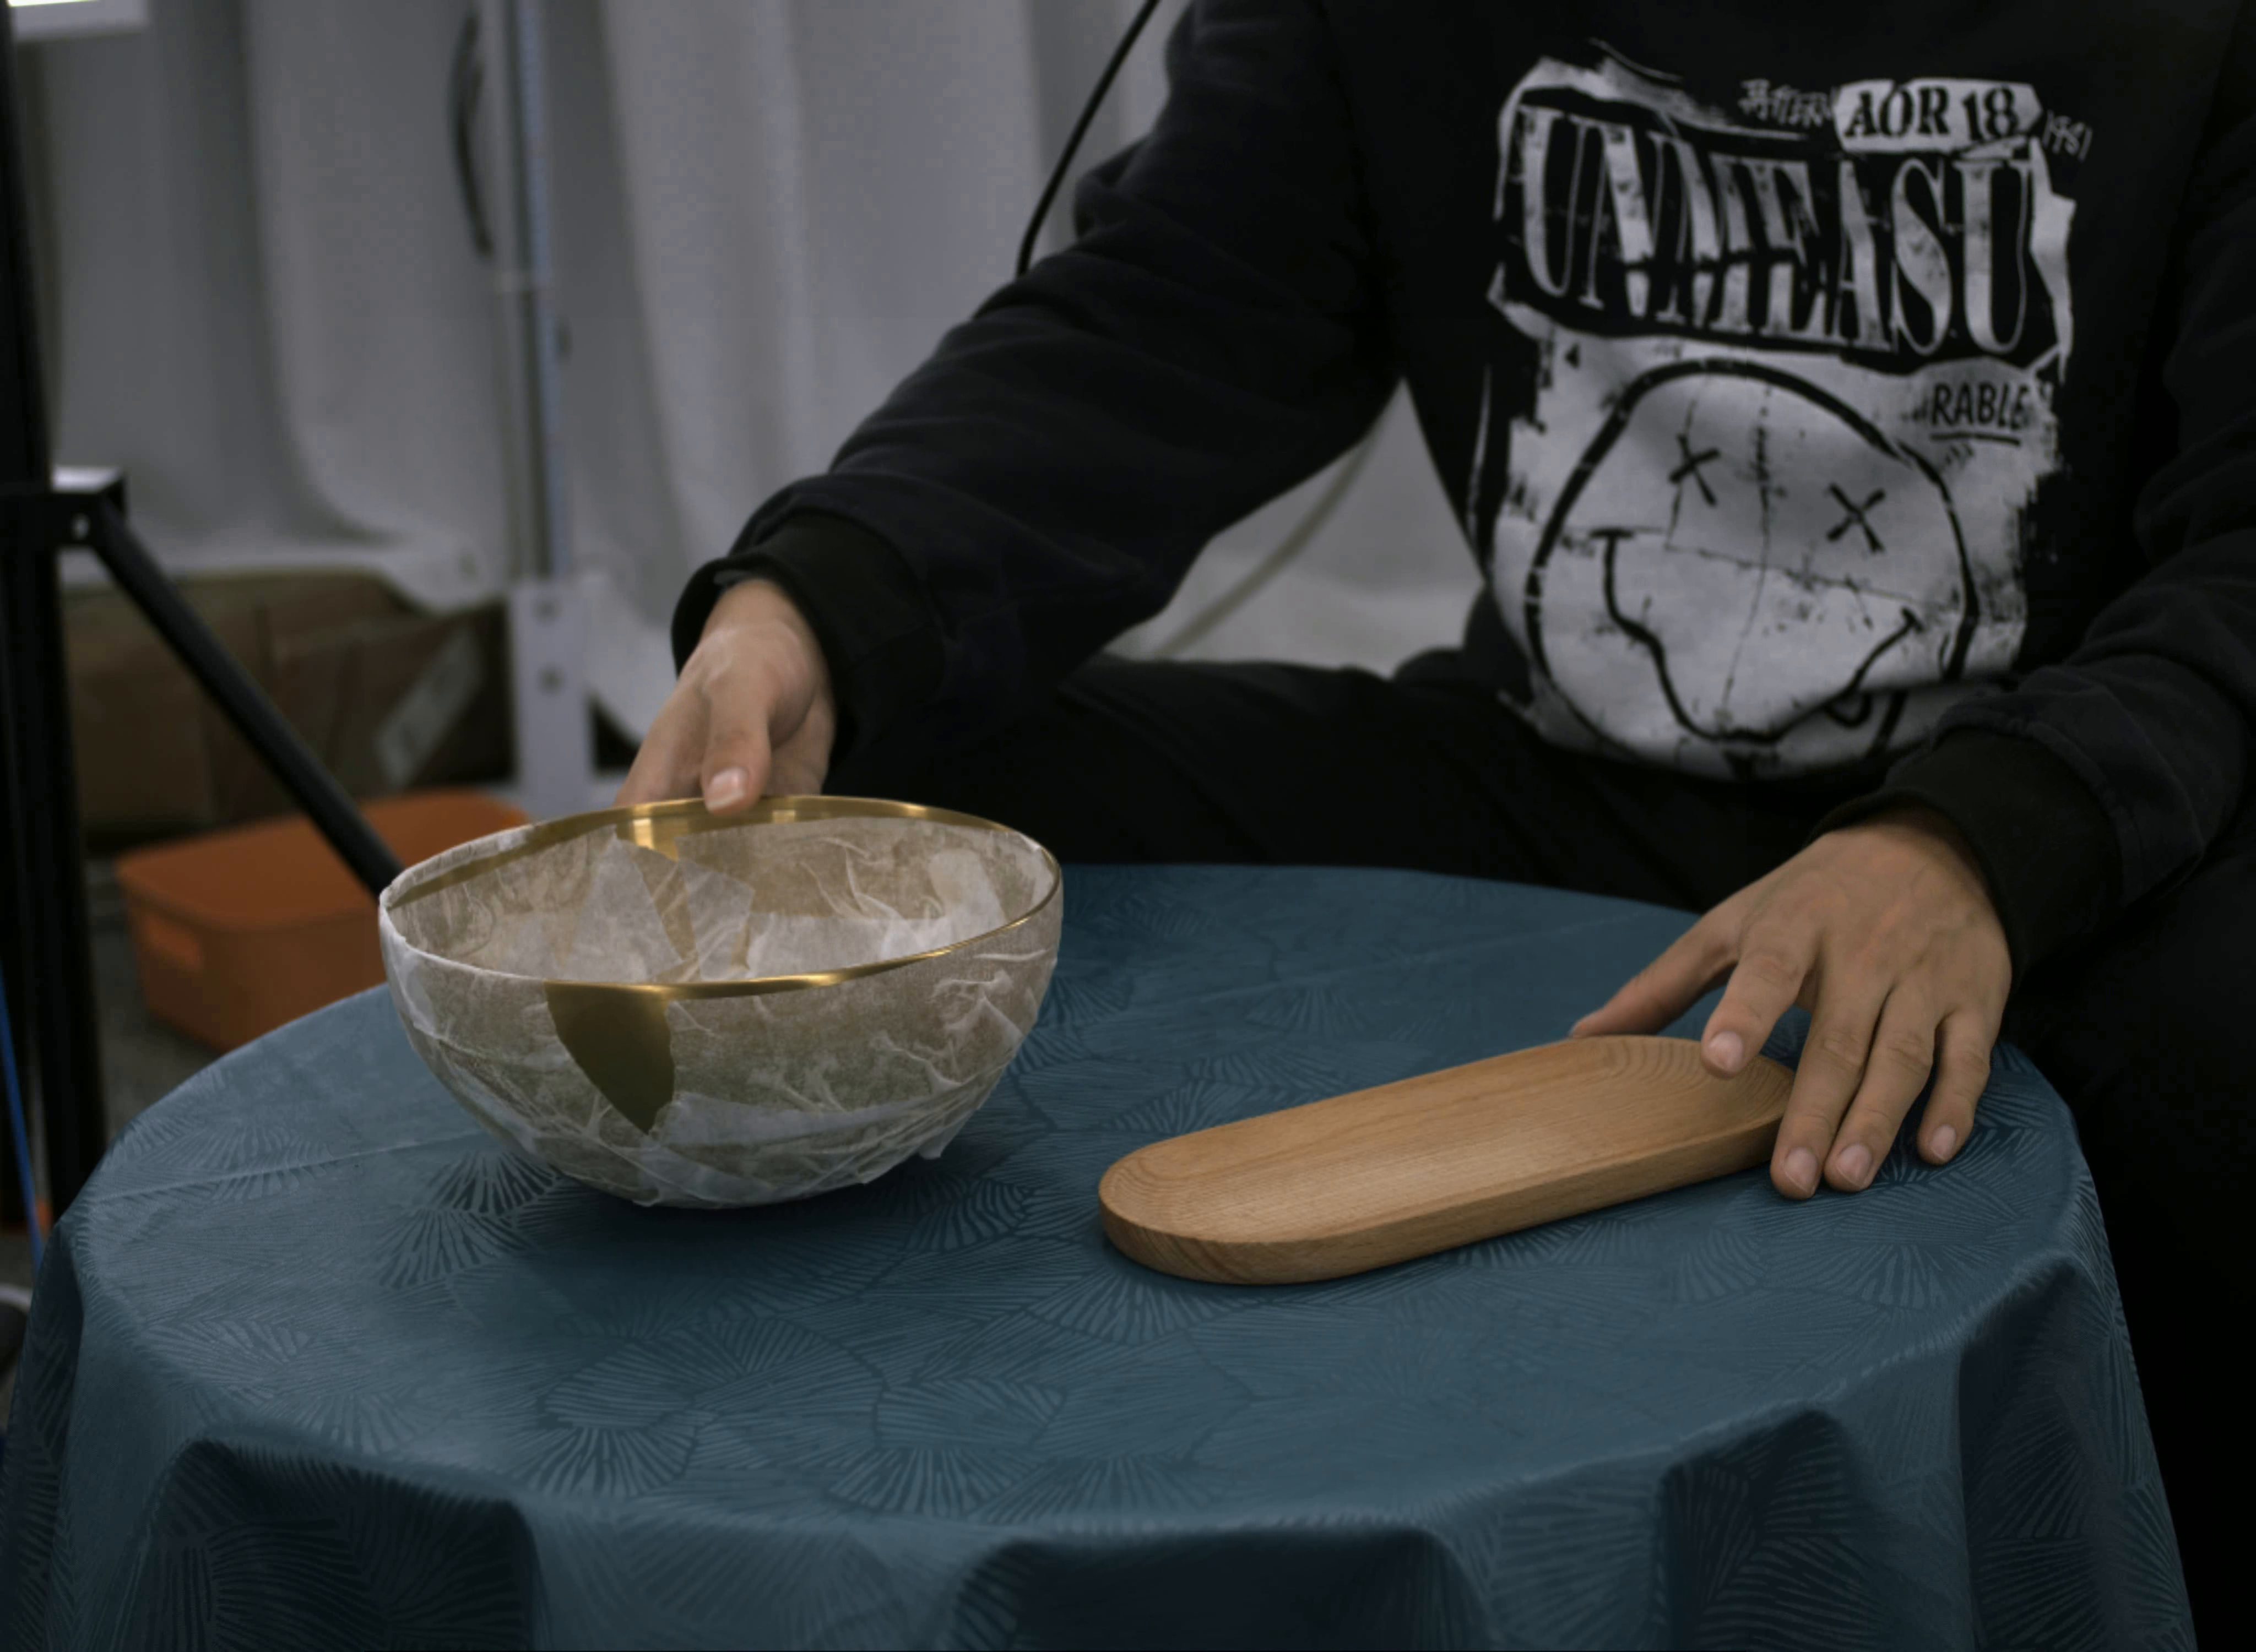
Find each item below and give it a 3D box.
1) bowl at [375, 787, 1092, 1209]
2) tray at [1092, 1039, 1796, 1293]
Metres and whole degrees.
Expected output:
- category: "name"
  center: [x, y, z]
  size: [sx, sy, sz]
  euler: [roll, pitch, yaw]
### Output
- category: "bowl"
  center: [-0.114, 0.059, 1.579]
  size: [0.213, 0.094, 0.216]
  euler: [-3, 14, -1]
- category: "tray"
  center: [0.095, 0.099, 1.547]
  size: [0.226, 0.020, 0.104]
  euler: [-14, 17, -30]
